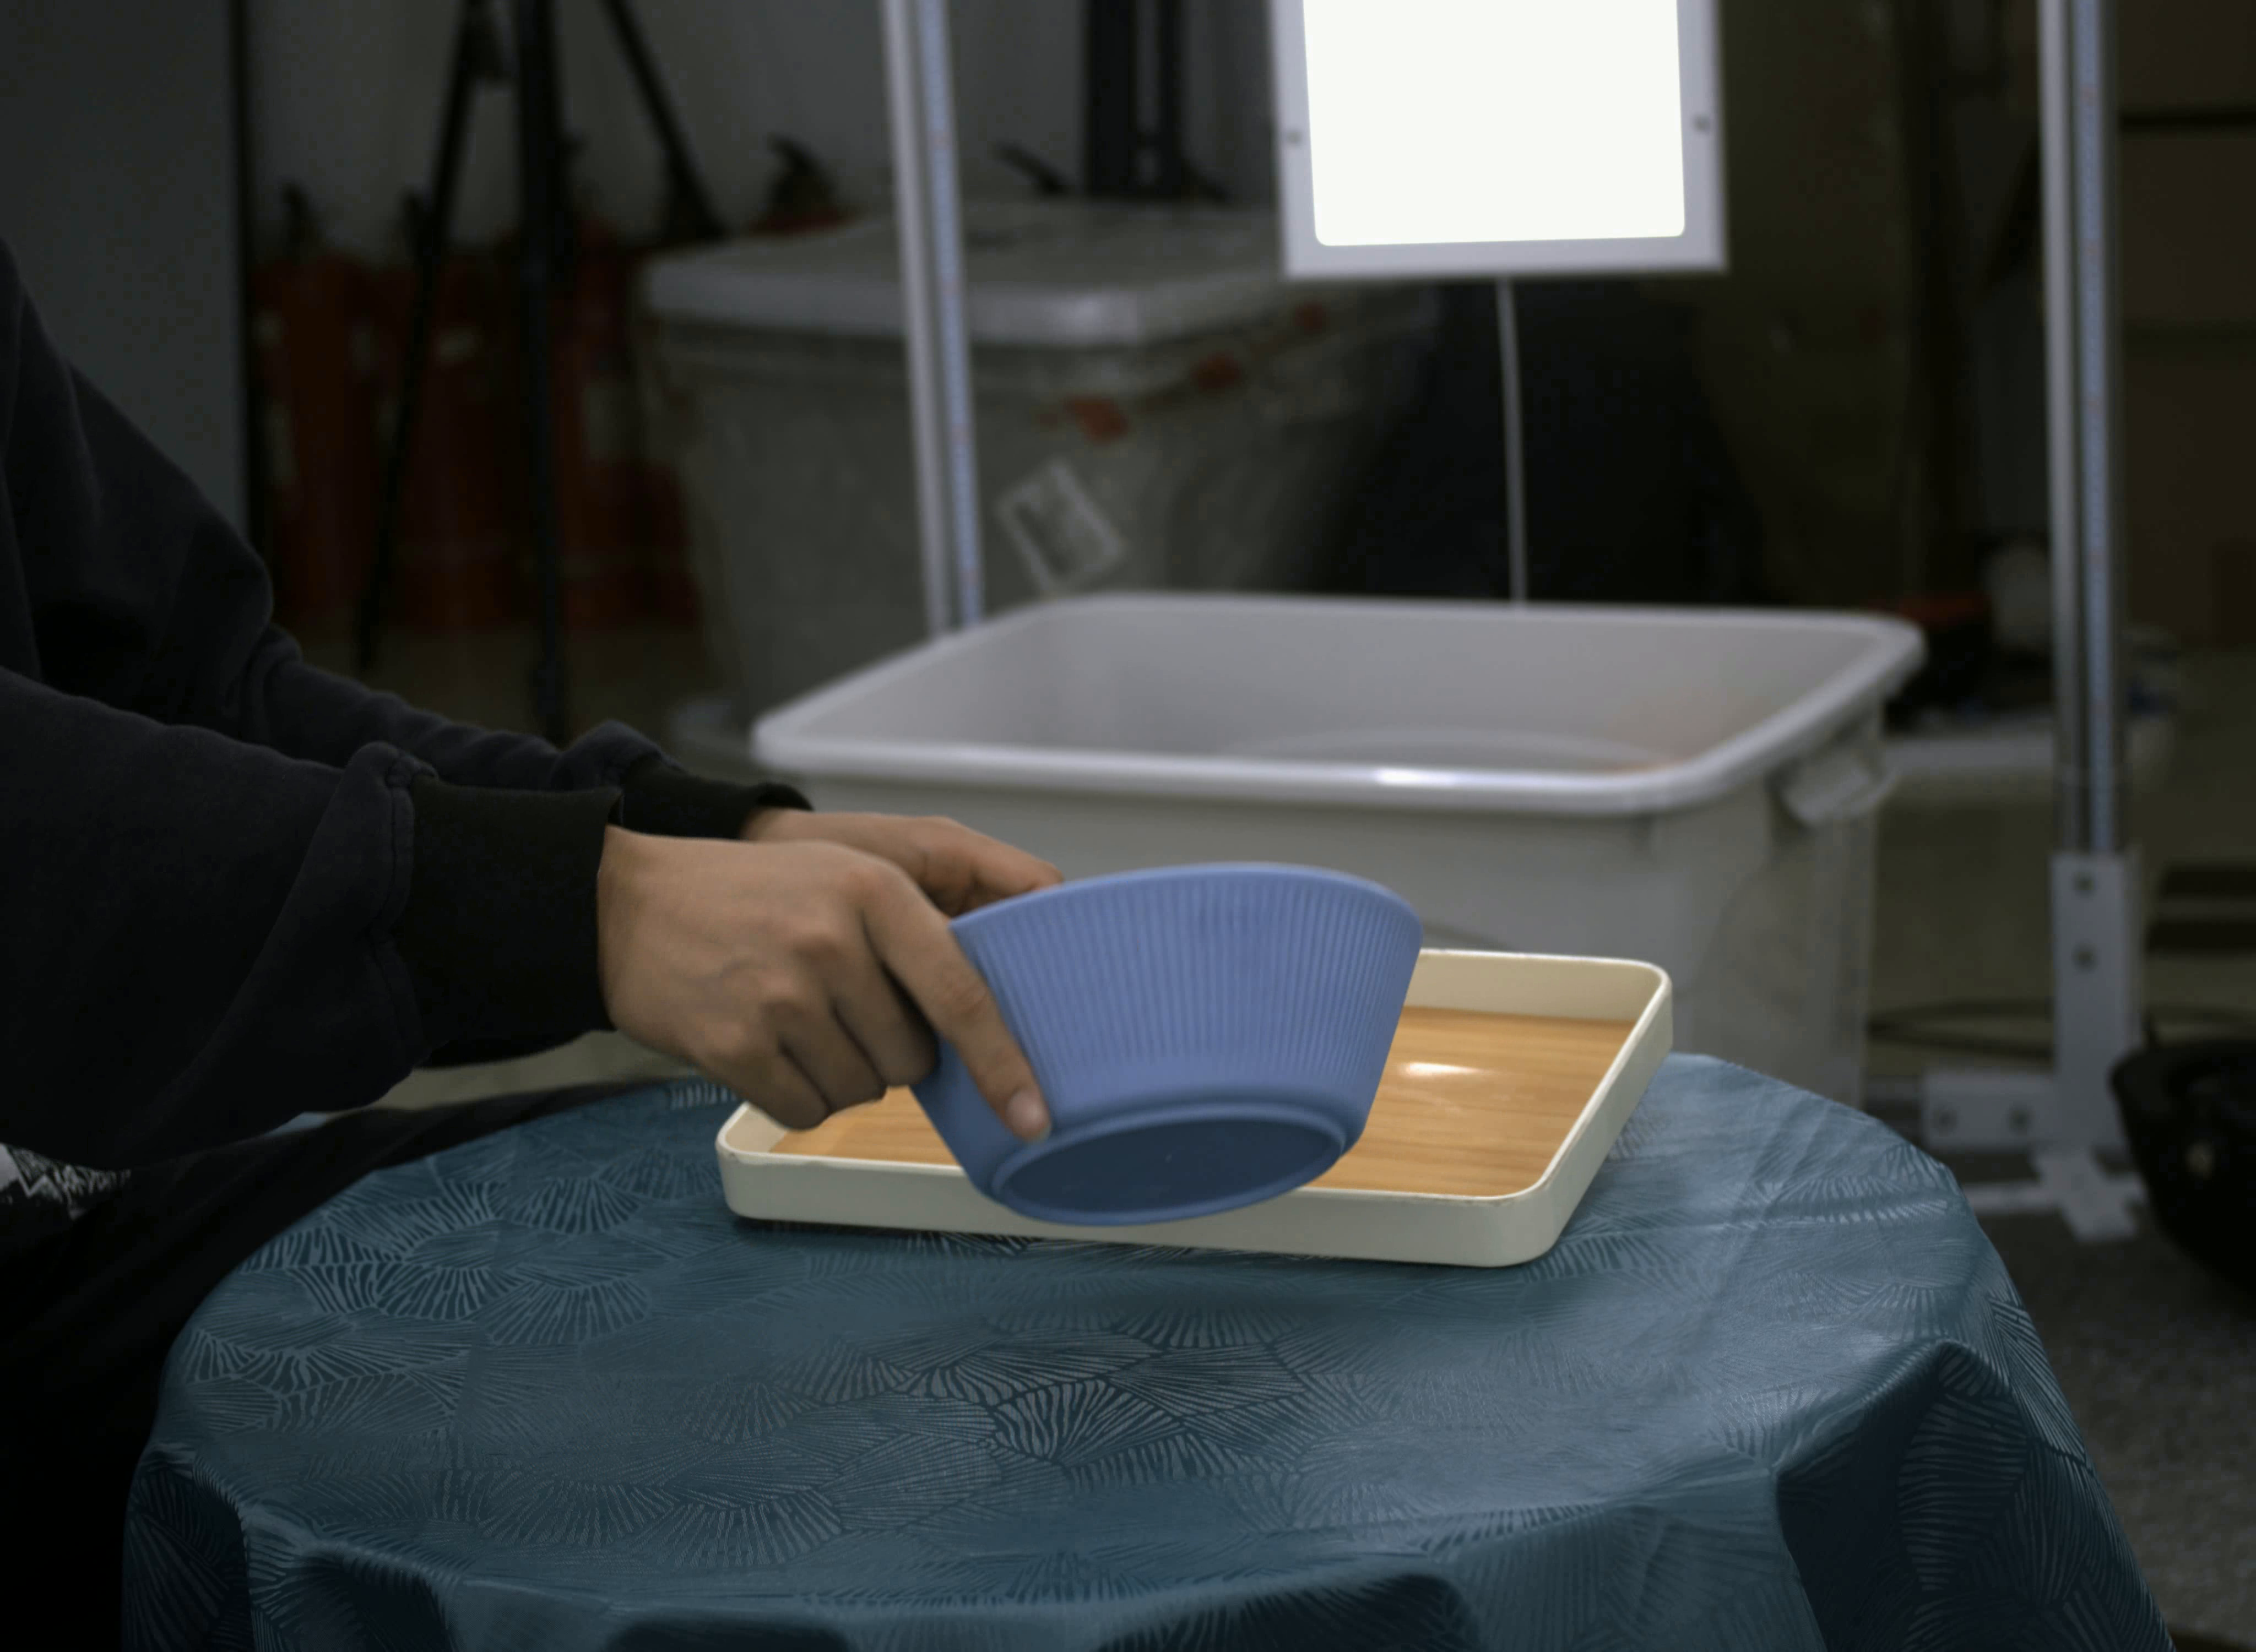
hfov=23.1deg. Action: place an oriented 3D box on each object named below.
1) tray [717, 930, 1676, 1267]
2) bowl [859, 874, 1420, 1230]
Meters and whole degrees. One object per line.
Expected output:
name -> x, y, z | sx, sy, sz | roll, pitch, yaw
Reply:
tray -> 0.026, 0.092, 1.911 | 0.304, 0.027, 0.188 | 2, 24, 23
bowl -> 0.007, 0.076, 1.692 | 0.175, 0.070, 0.177 | -4, -20, -3
